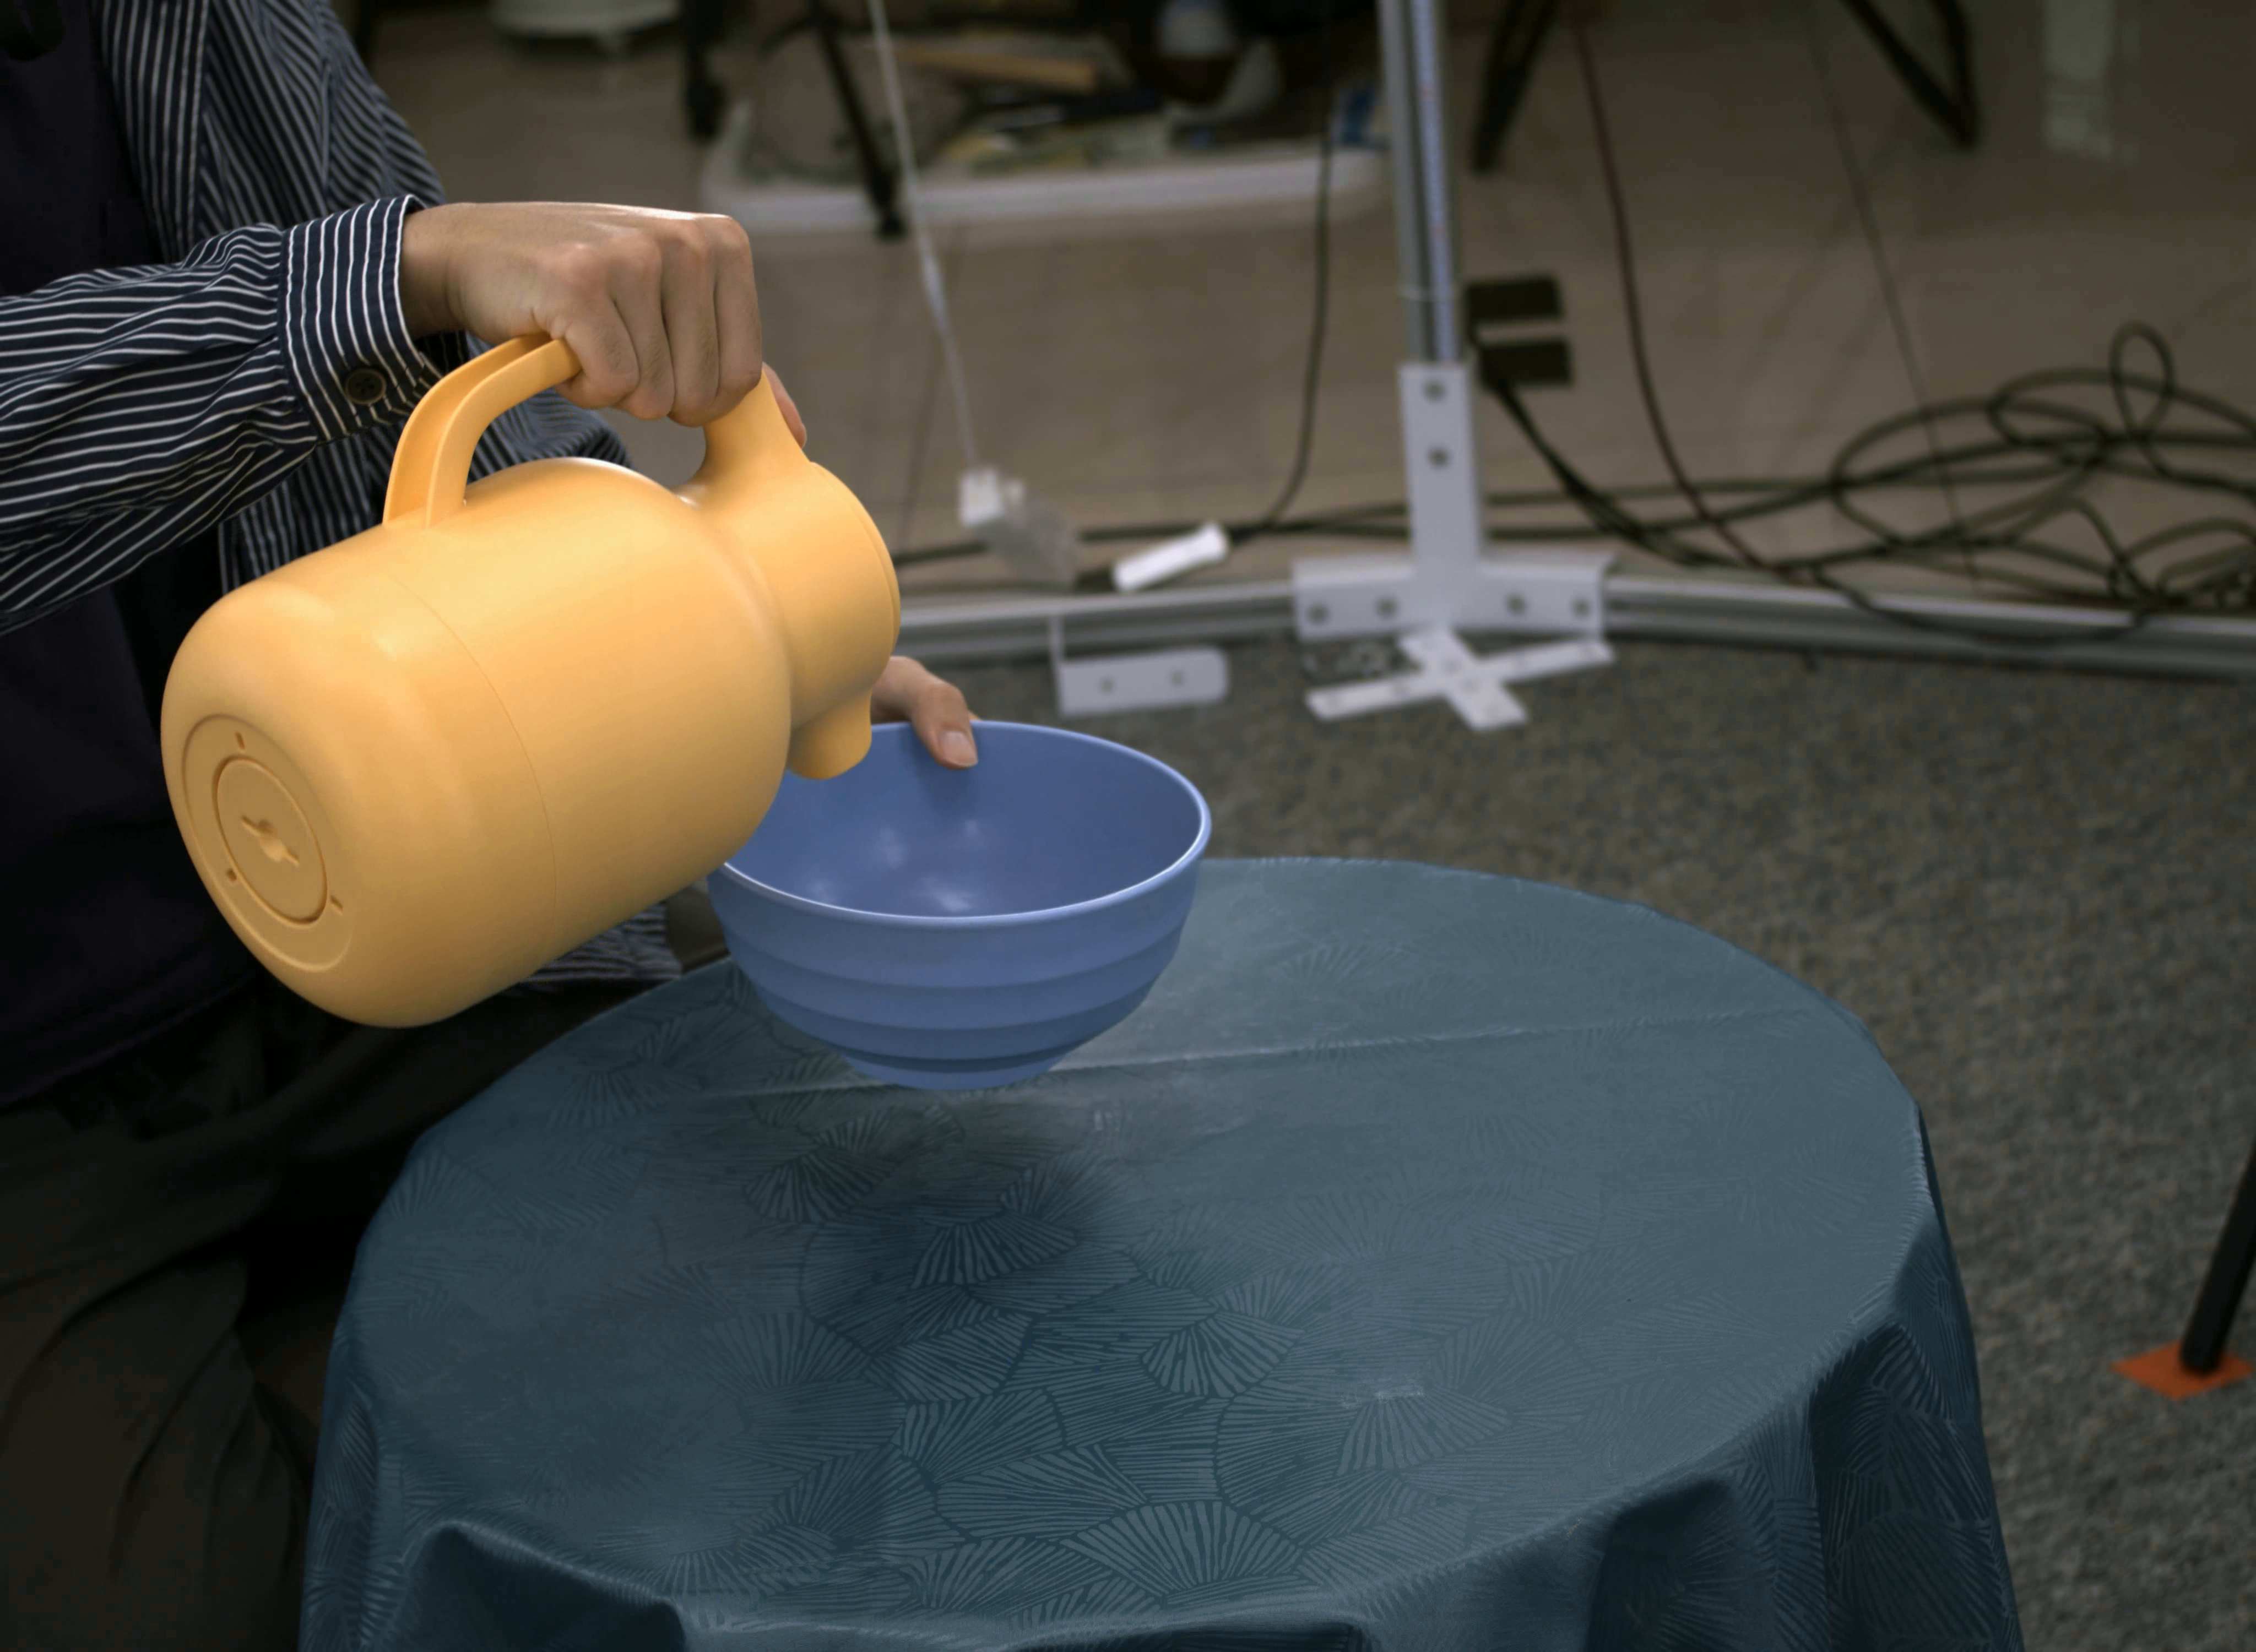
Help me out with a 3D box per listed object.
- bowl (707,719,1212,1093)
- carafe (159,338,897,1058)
[{"bbox_3d":[-0.067,0.039,2.154,0.196,0.097,0.193,1,24,0],"label":"bowl"},{"bbox_3d":[-0.208,-0.053,1.989,0.258,0.205,0.162,-30,27,-34],"label":"carafe"}]
